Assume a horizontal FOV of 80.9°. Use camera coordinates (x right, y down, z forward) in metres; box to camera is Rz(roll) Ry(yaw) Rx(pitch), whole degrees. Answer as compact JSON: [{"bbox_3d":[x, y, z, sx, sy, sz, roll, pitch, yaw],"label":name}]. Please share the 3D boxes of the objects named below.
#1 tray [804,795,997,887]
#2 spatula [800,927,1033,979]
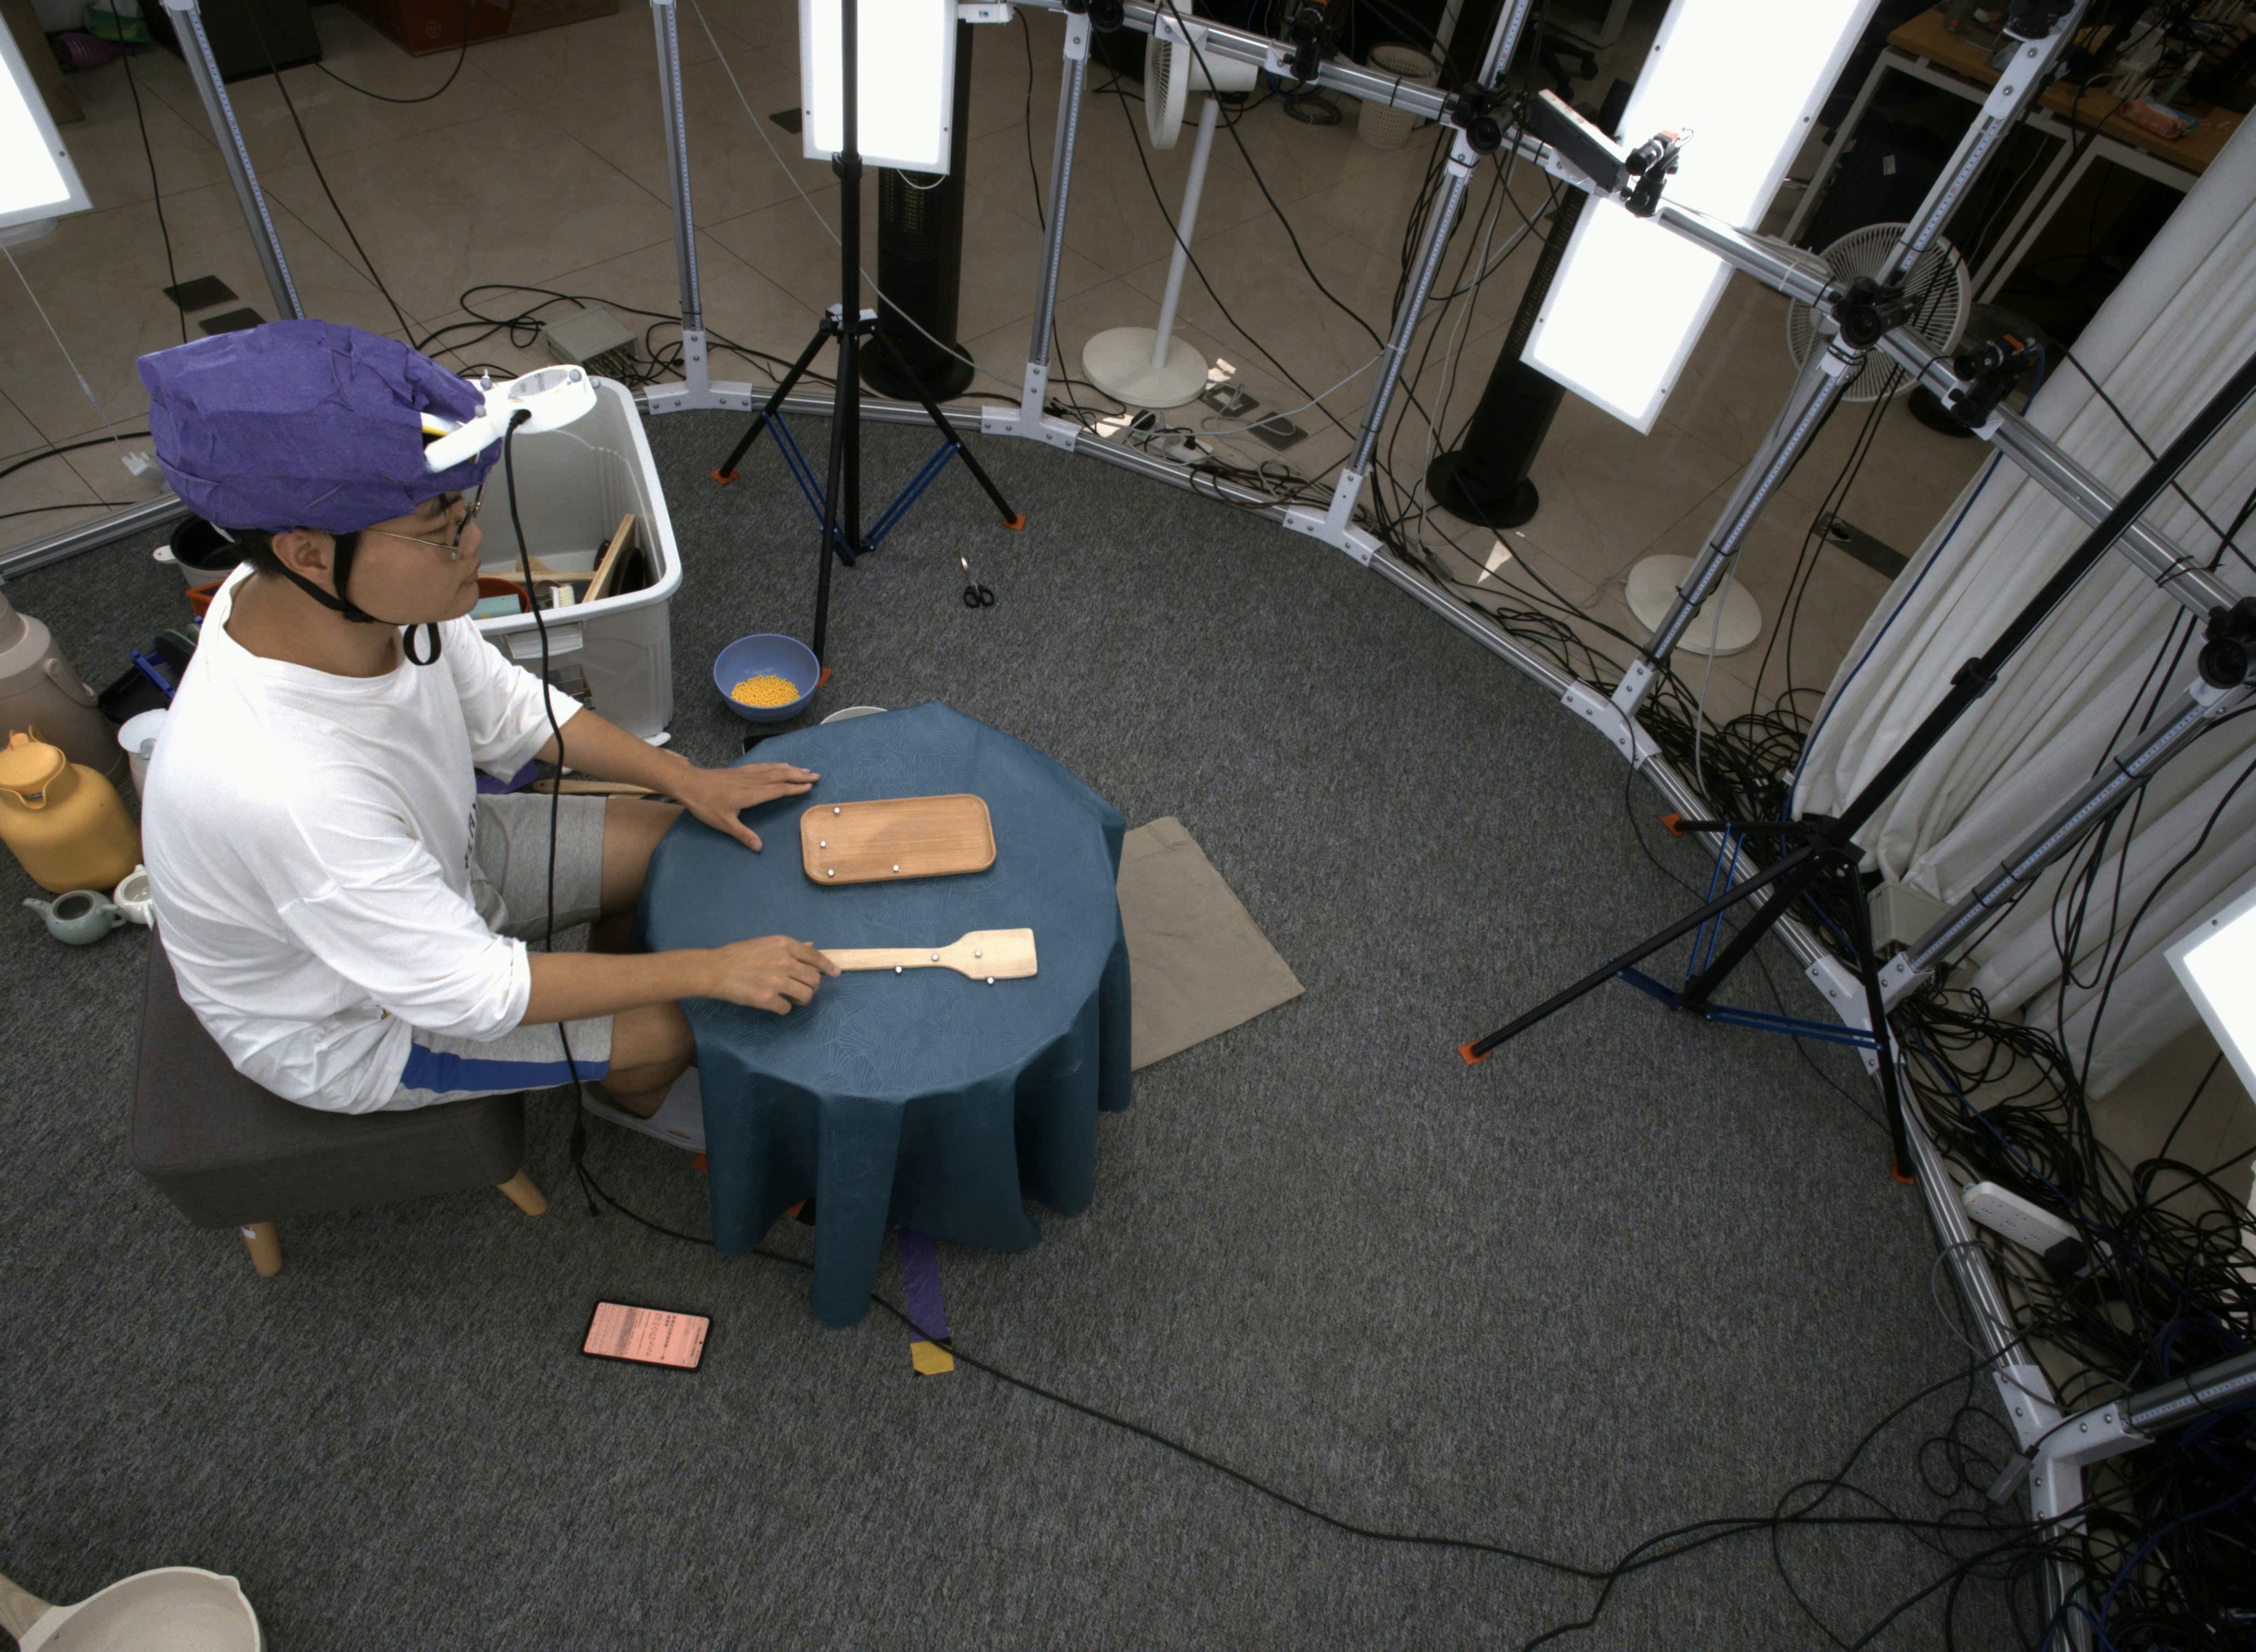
[{"bbox_3d":[-0.304,0.019,1.739,0.251,0.023,0.128,-3,57,-16],"label":"tray"},{"bbox_3d":[-0.265,0.164,1.644,0.293,0.011,0.071,-2,56,-15],"label":"spatula"}]
